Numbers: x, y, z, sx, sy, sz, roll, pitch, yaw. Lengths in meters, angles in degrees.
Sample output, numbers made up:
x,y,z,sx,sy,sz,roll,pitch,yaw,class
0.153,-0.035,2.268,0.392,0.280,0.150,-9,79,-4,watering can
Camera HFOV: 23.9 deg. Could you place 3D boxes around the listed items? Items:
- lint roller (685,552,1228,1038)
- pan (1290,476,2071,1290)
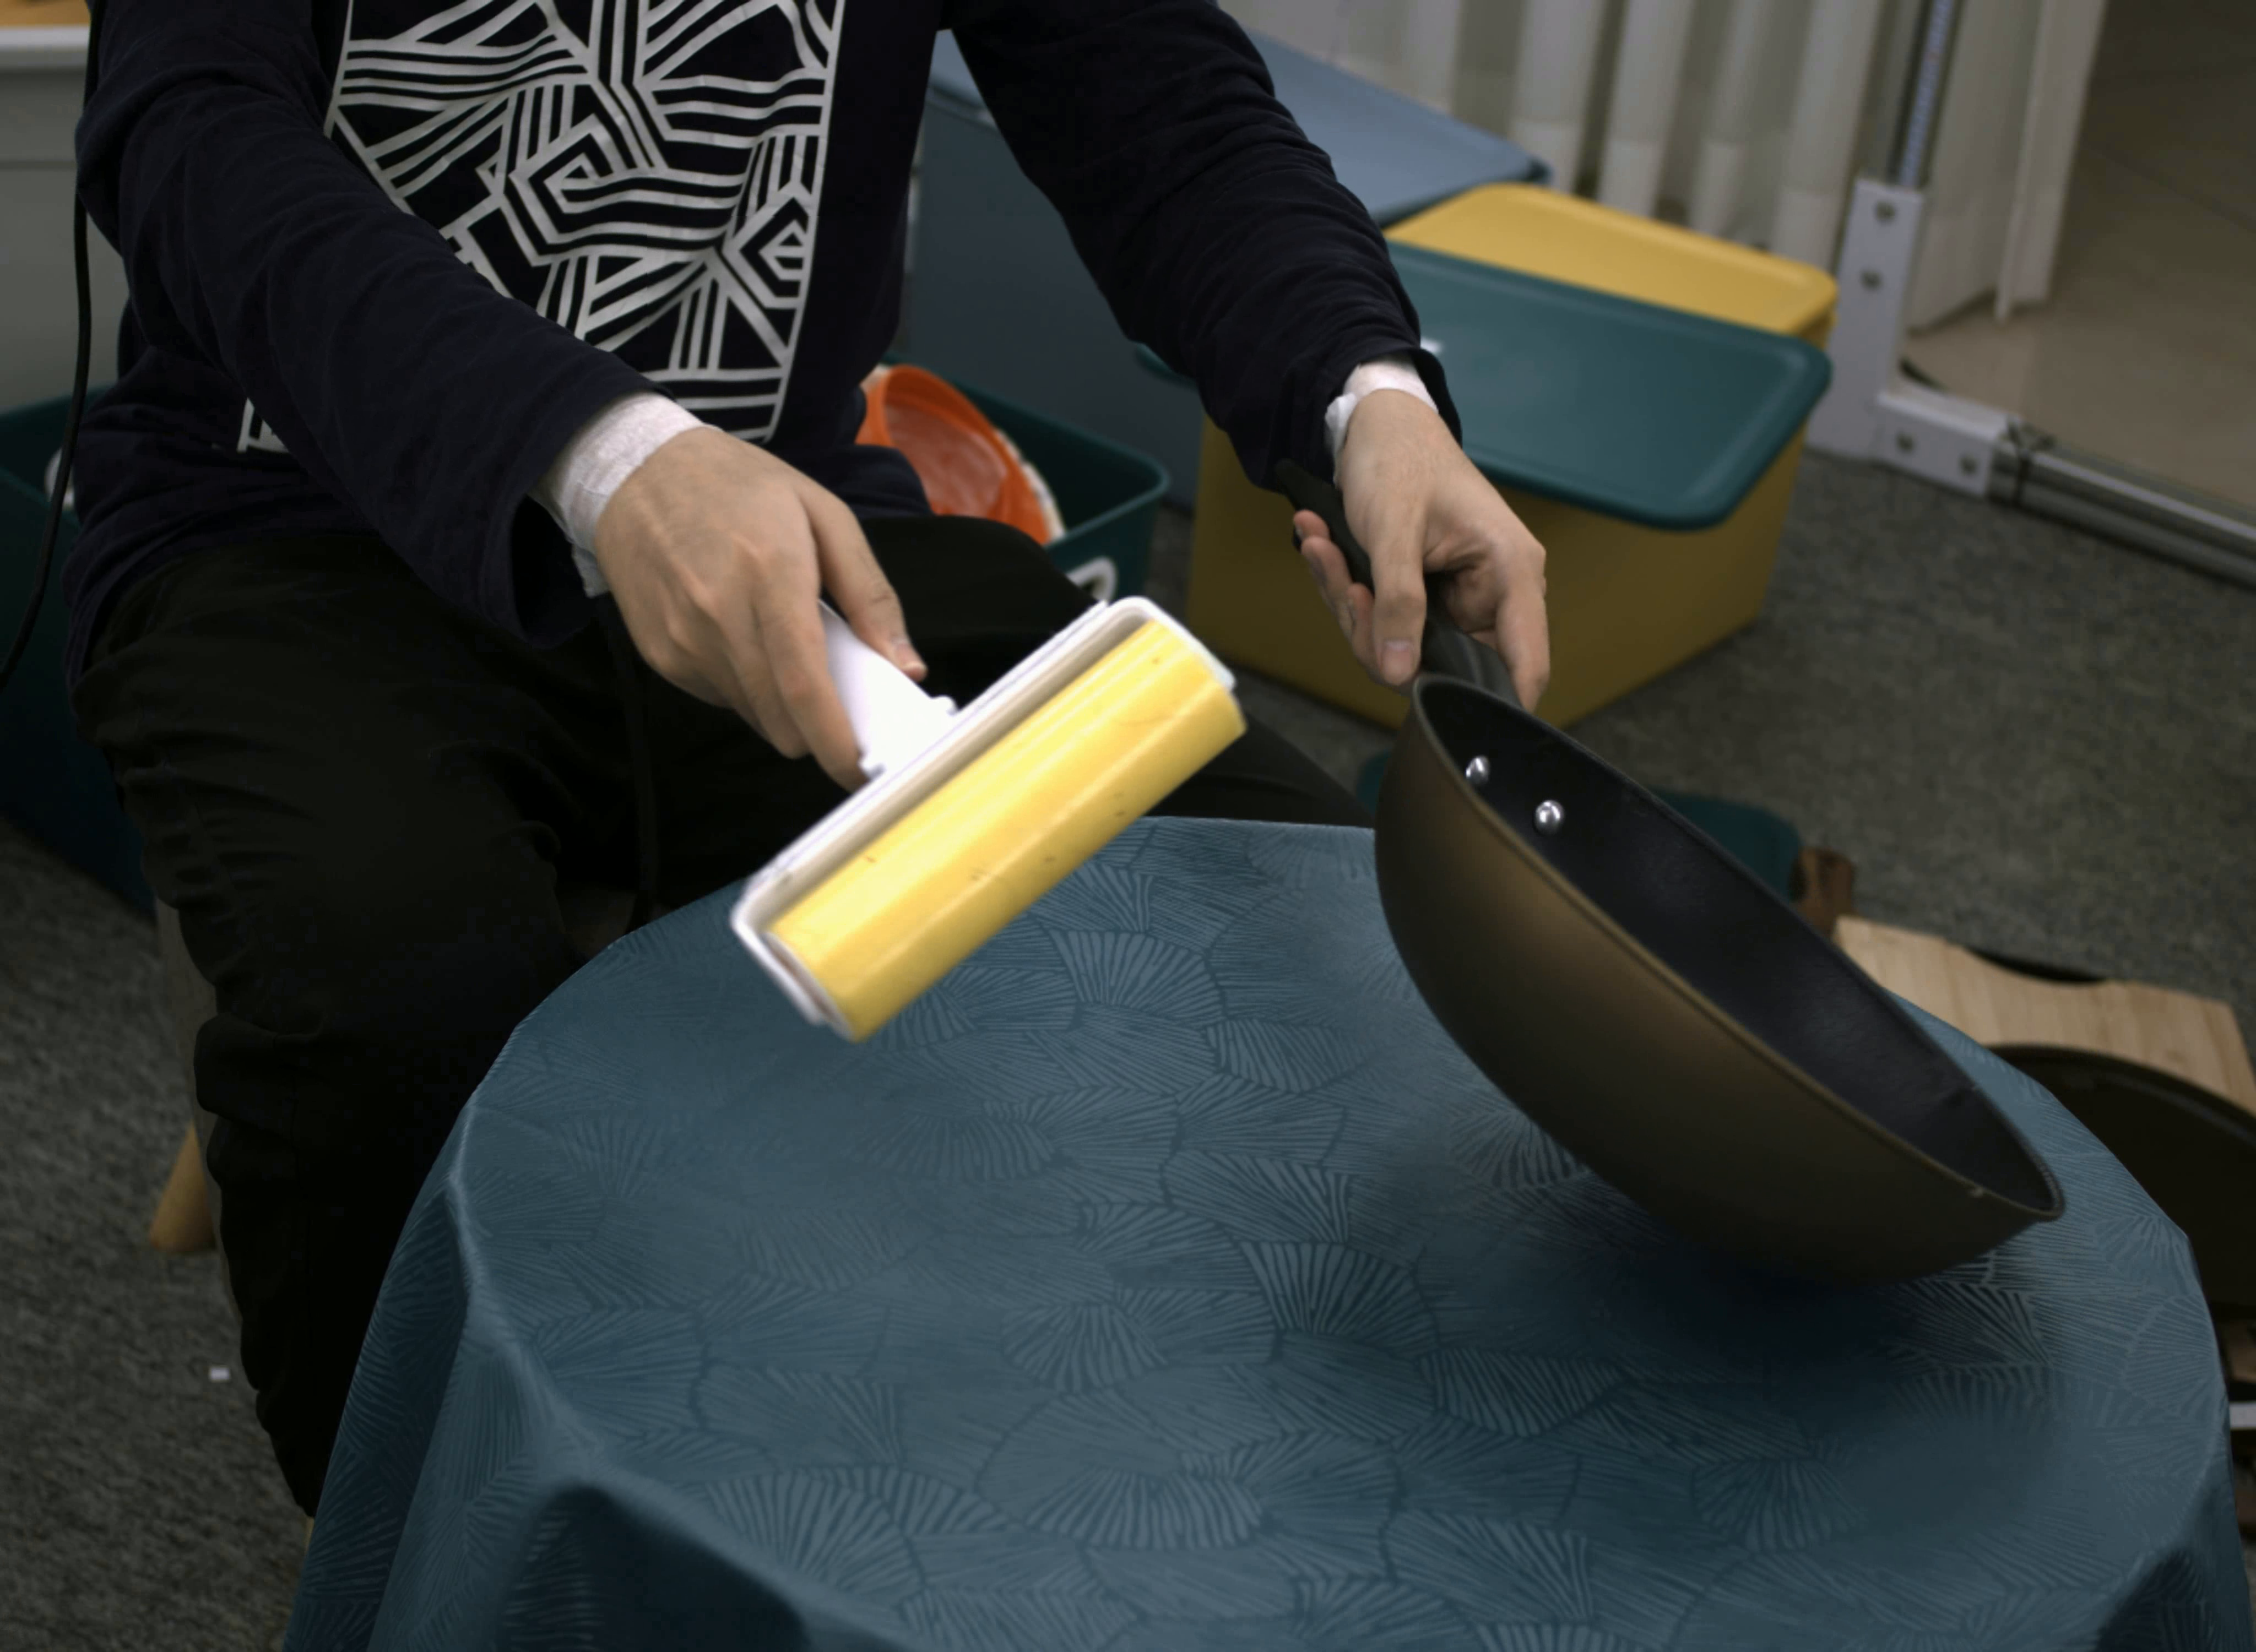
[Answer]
x,y,z,sx,sy,sz,roll,pitch,yaw,class
-0.088,-0.041,1.721,0.174,0.051,0.193,-38,57,-12,lint roller
0.142,0.019,1.852,0.285,0.087,0.468,27,16,-40,pan
